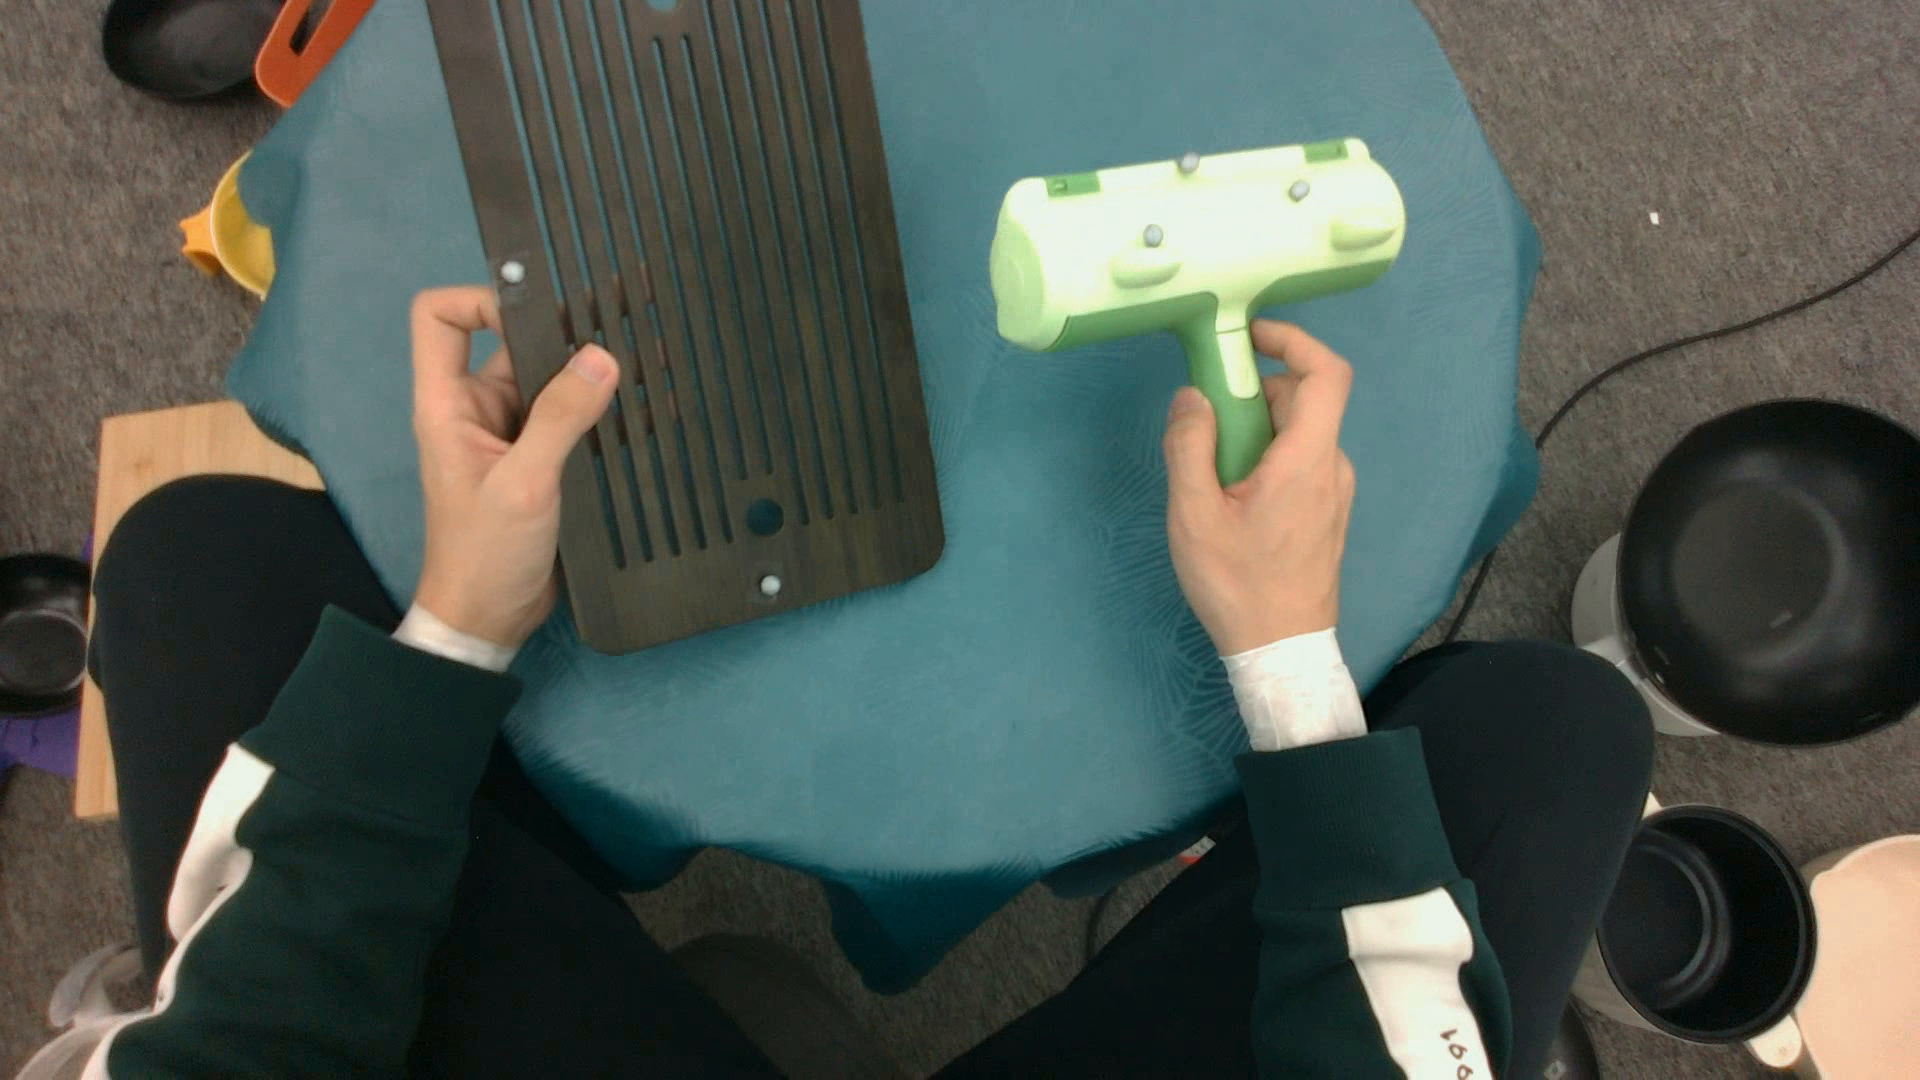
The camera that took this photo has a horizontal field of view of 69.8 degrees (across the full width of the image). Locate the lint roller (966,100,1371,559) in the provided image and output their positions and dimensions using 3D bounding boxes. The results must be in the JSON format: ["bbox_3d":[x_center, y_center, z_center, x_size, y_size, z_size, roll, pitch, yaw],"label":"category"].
[{"bbox_3d":[0.110,-0.083,0.569,0.199,0.082,0.183,-19,94,-33],"label":"lint roller"}]

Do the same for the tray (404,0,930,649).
[{"bbox_3d":[-0.112,-0.118,0.563,0.170,0.018,0.305,-16,108,-24],"label":"tray"}]
